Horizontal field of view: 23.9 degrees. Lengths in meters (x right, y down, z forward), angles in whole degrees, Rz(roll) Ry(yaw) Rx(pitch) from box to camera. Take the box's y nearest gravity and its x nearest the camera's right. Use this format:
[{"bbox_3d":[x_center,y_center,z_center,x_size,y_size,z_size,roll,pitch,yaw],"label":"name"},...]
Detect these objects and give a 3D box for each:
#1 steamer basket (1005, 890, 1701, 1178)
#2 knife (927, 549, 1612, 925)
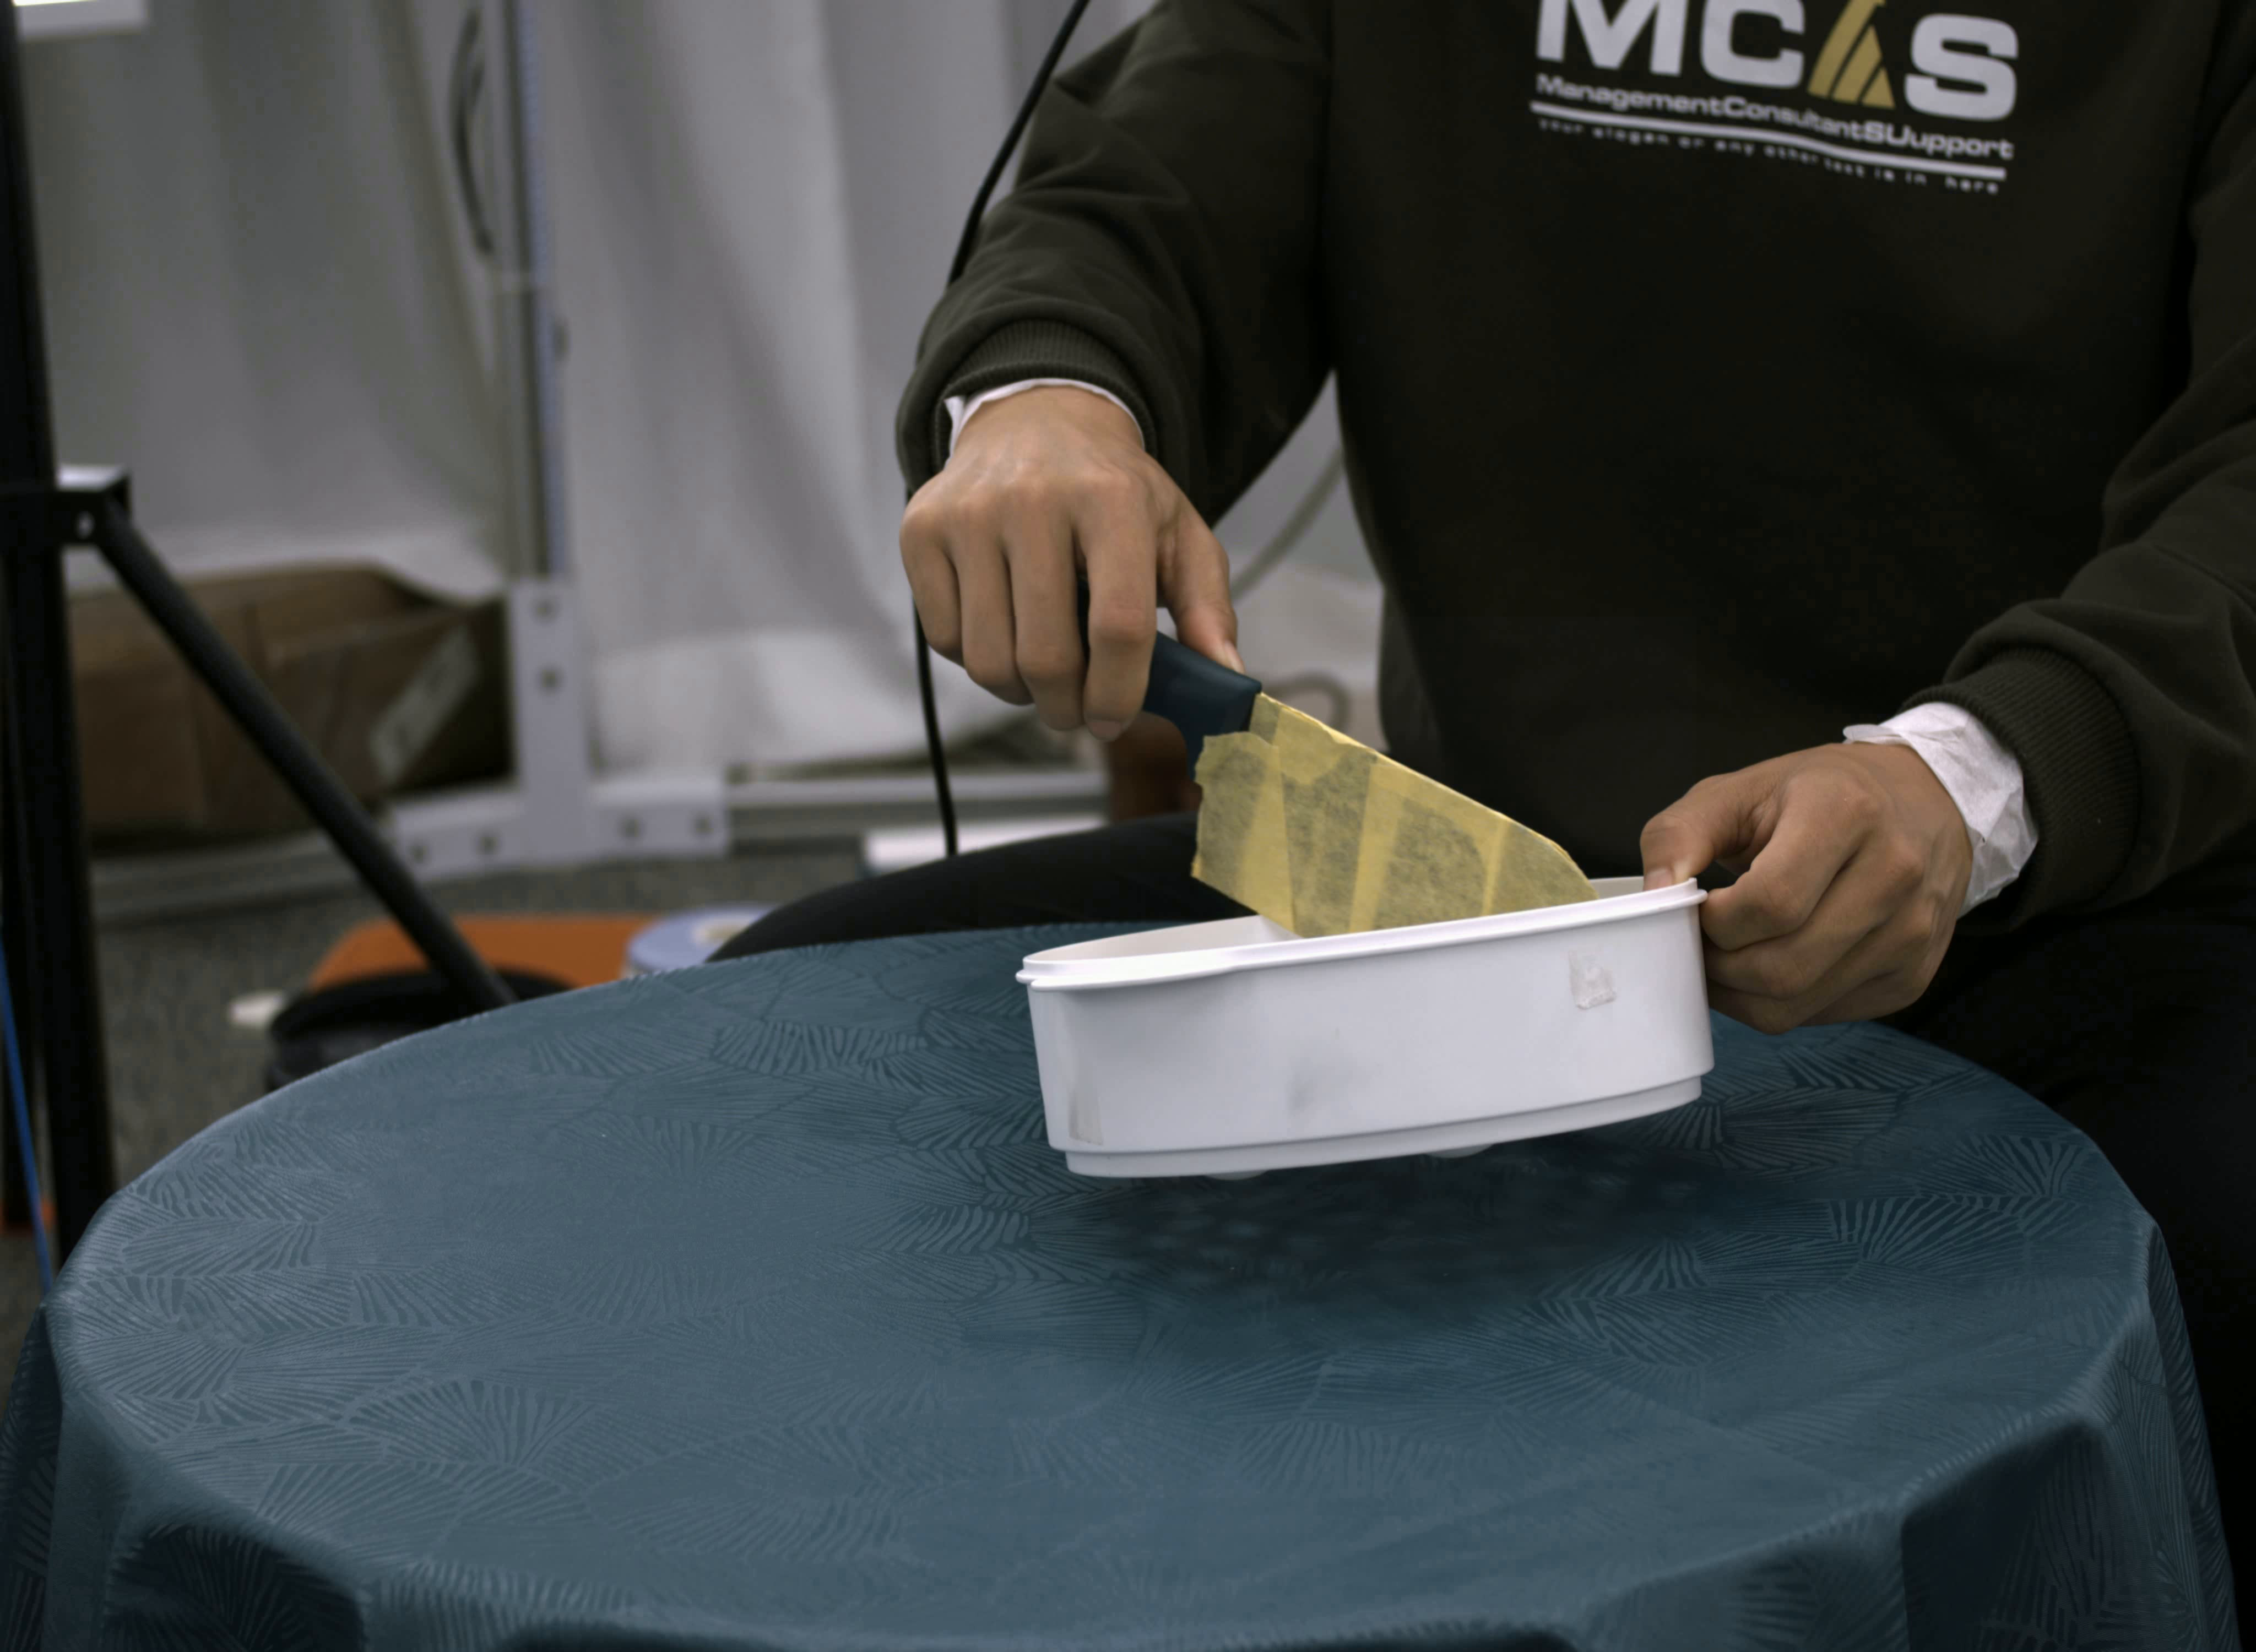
[{"bbox_3d":[0.067,0.060,1.528,0.225,0.069,0.206,-6,1,-44],"label":"steamer basket"},{"bbox_3d":[0.045,-0.007,1.608,0.295,0.081,0.026,32,36,32],"label":"knife"}]
